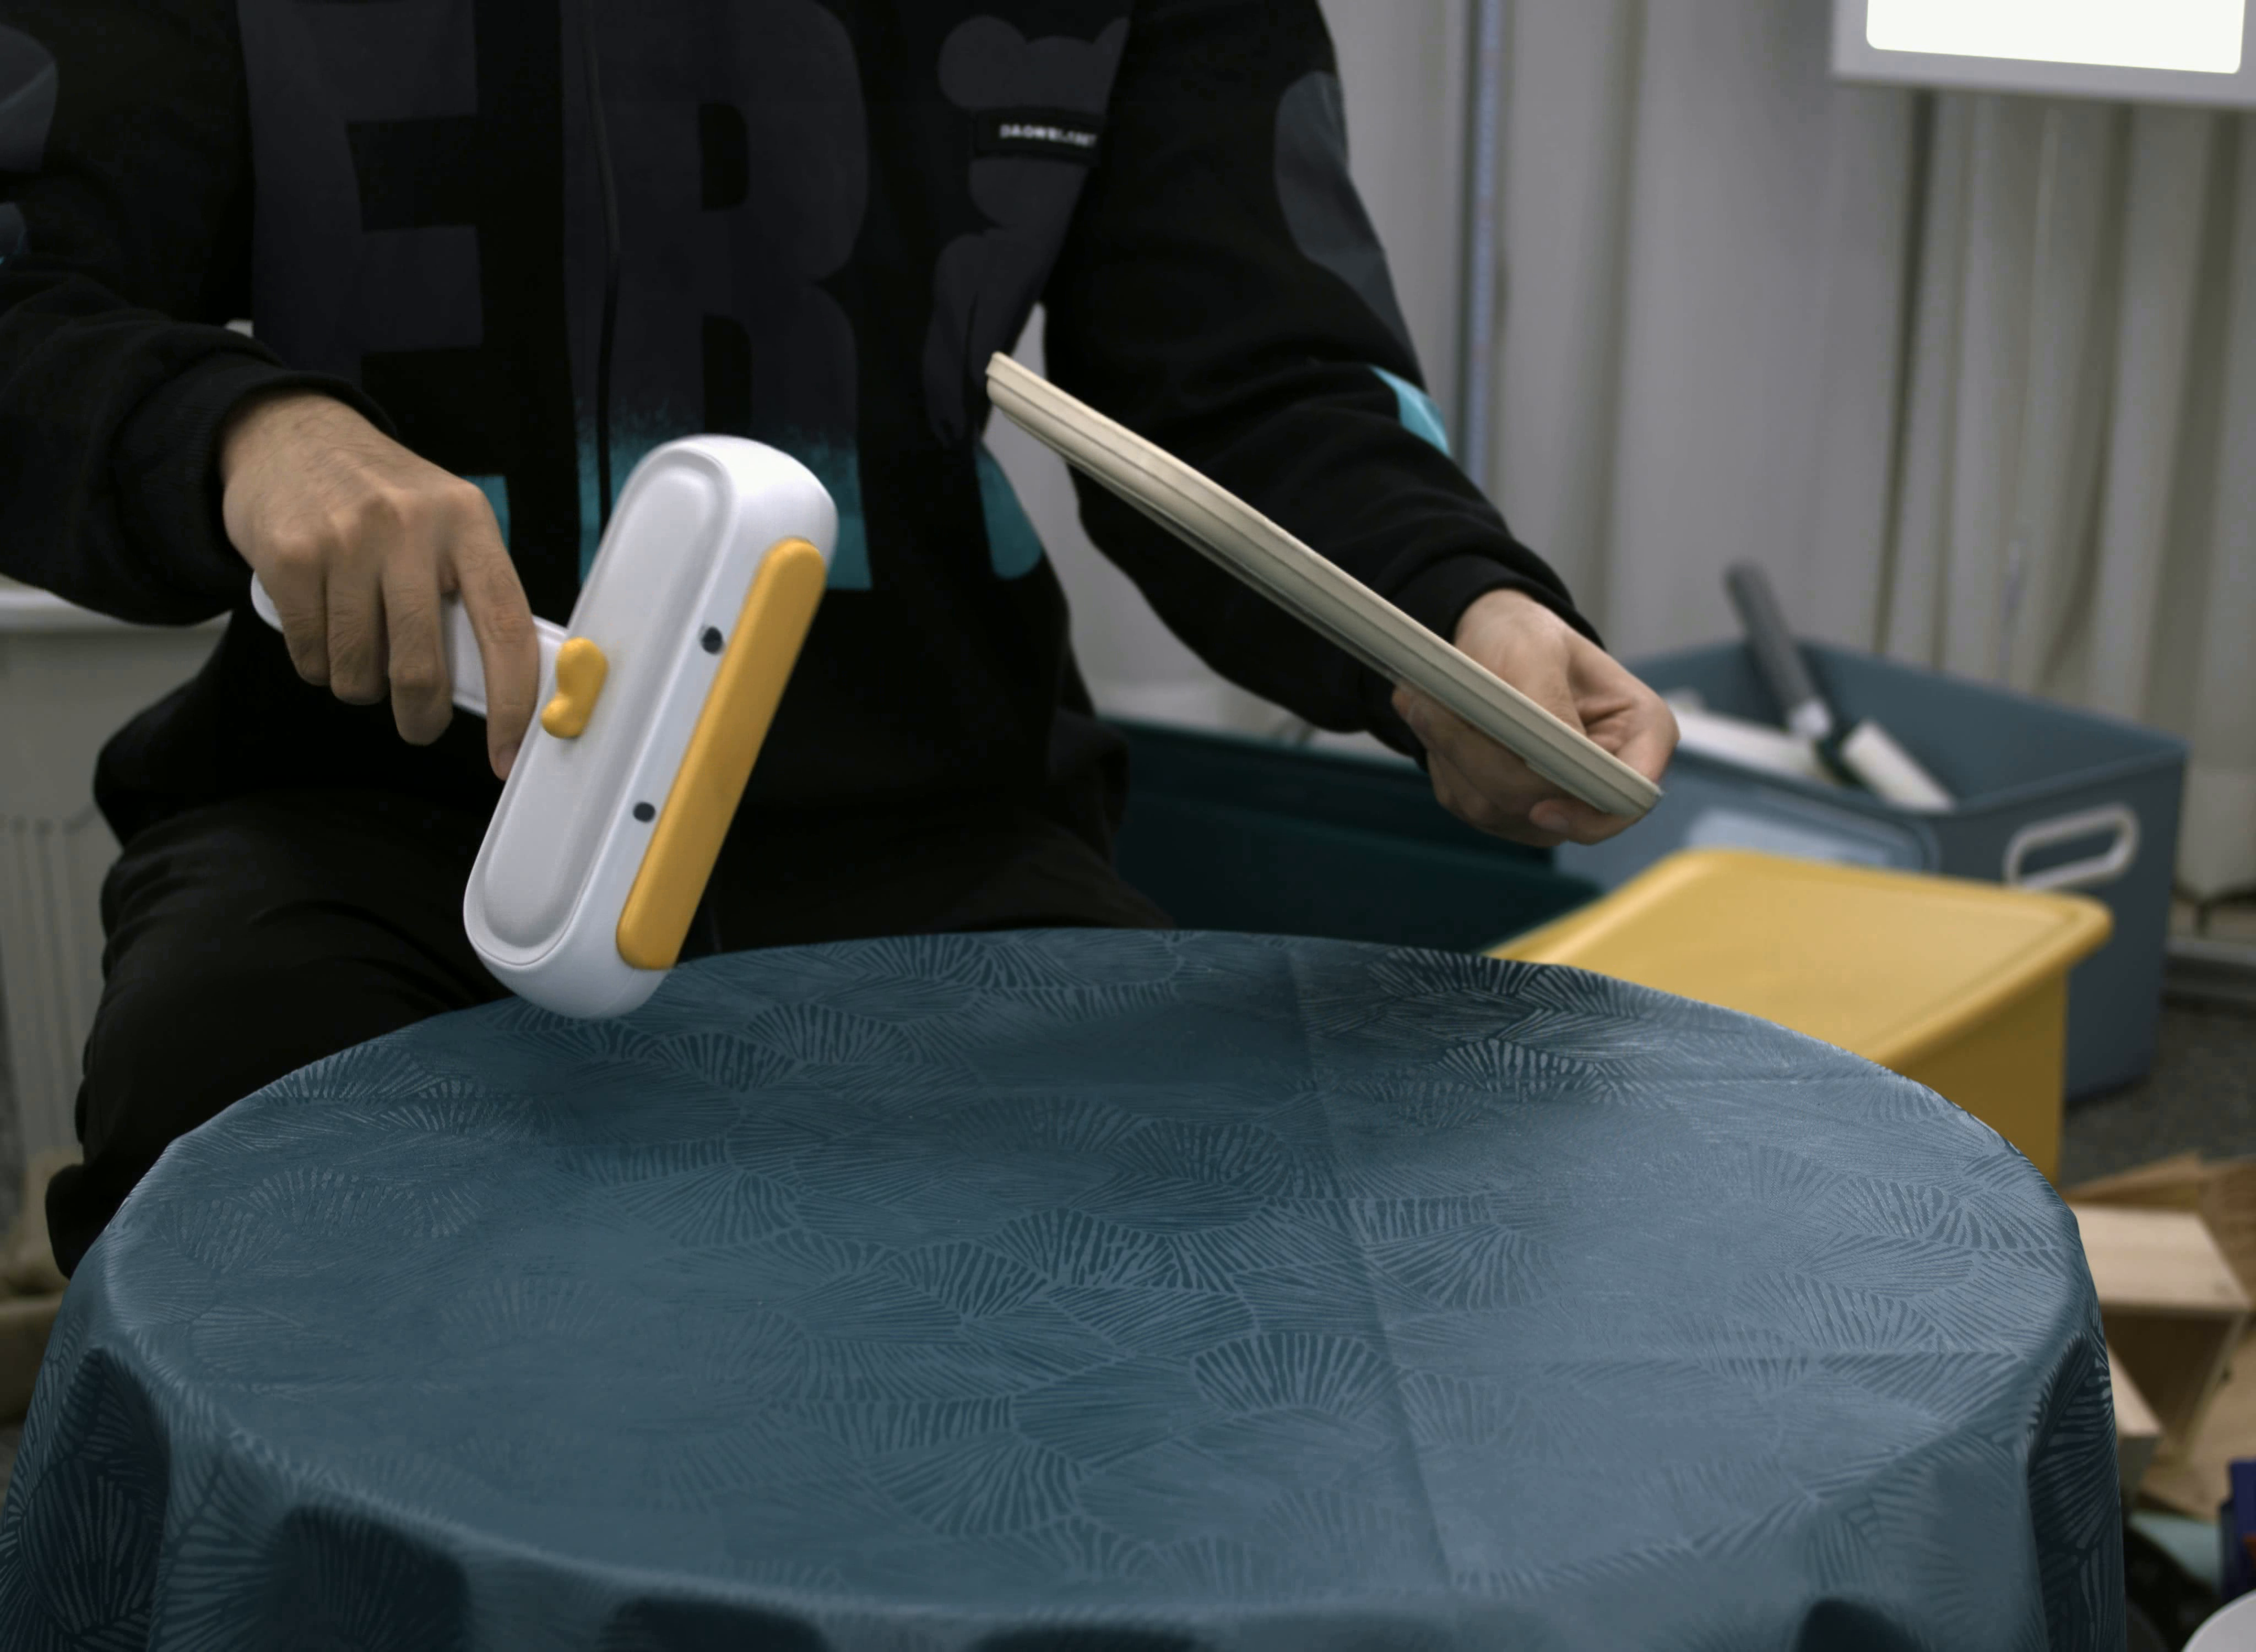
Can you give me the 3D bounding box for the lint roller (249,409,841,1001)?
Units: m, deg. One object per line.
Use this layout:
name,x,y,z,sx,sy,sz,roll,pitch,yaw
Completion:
lint roller,-0.199,-0.053,1.702,0.190,0.193,0.075,16,0,33

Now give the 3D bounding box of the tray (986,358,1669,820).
tray,0.064,-0.076,1.745,0.242,0.017,0.169,32,1,-33
